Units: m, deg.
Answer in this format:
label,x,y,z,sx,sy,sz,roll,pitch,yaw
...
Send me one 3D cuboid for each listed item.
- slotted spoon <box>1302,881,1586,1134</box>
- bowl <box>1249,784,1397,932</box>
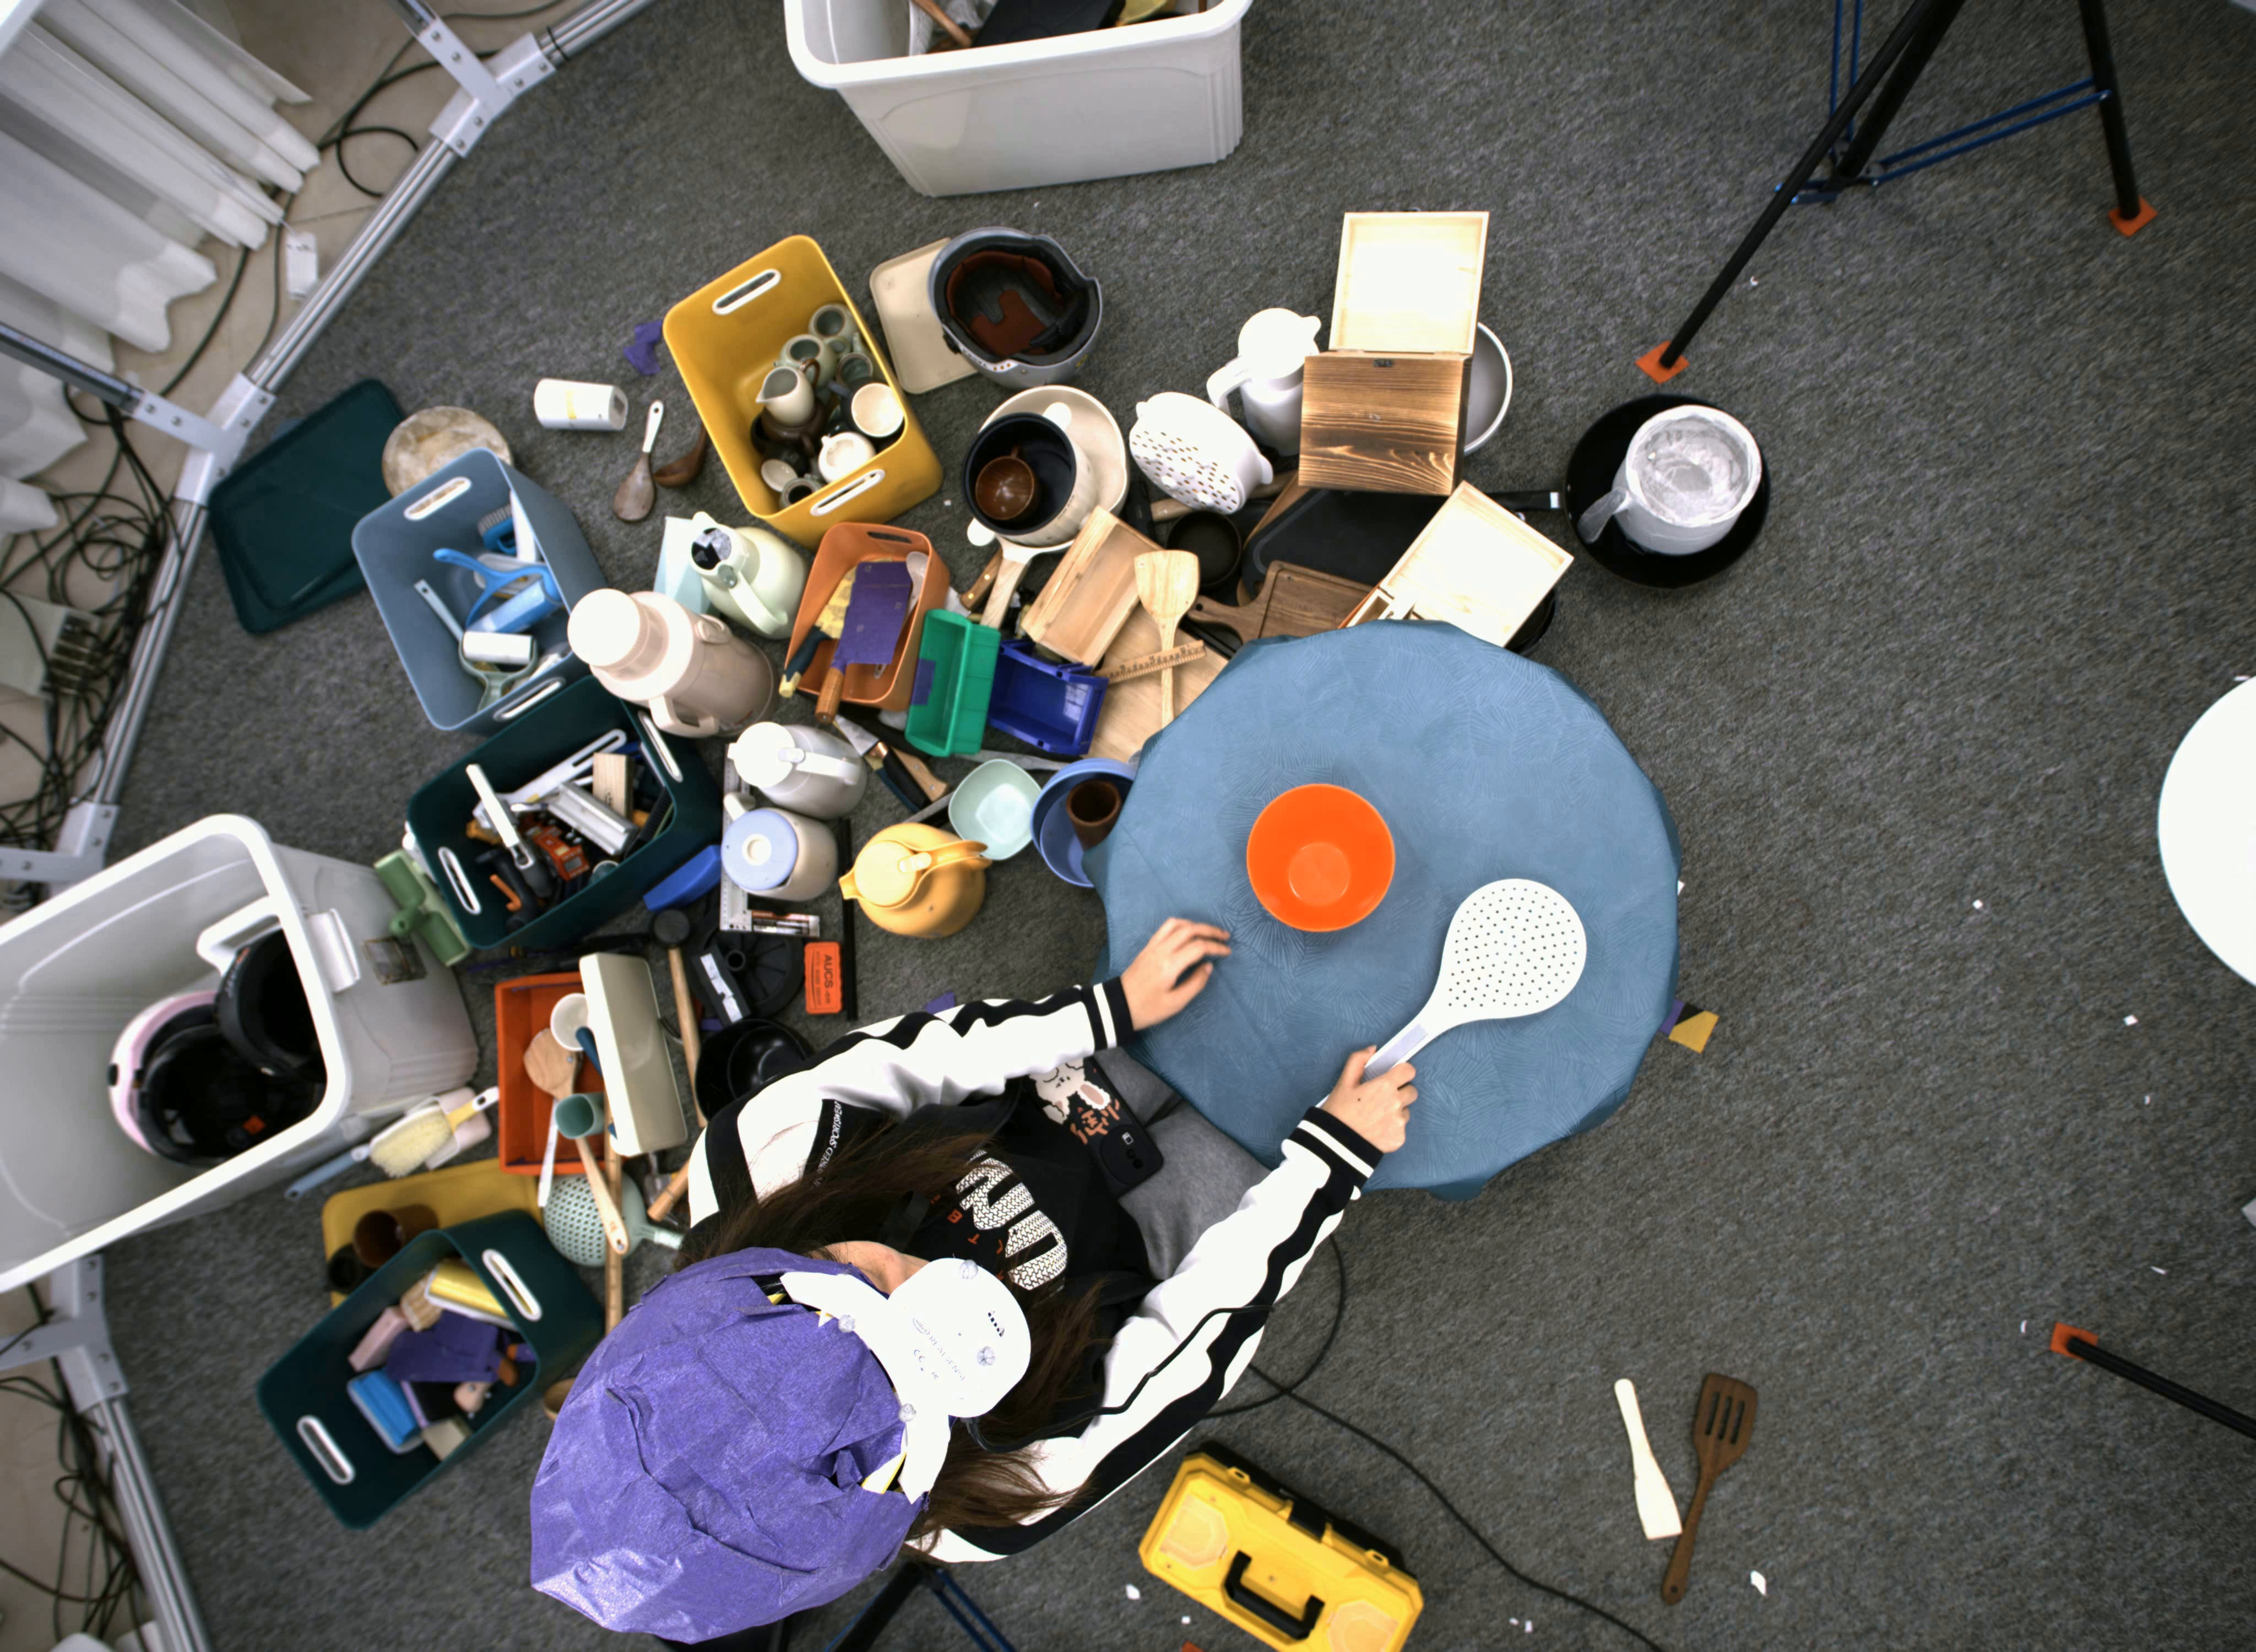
label,x,y,z,sx,sy,sz,roll,pitch,yaw
slotted spoon,0.317,0.195,1.422,0.351,0.046,0.135,-42,78,6
bowl,0.199,0.035,1.423,0.148,0.104,0.147,0,88,7
